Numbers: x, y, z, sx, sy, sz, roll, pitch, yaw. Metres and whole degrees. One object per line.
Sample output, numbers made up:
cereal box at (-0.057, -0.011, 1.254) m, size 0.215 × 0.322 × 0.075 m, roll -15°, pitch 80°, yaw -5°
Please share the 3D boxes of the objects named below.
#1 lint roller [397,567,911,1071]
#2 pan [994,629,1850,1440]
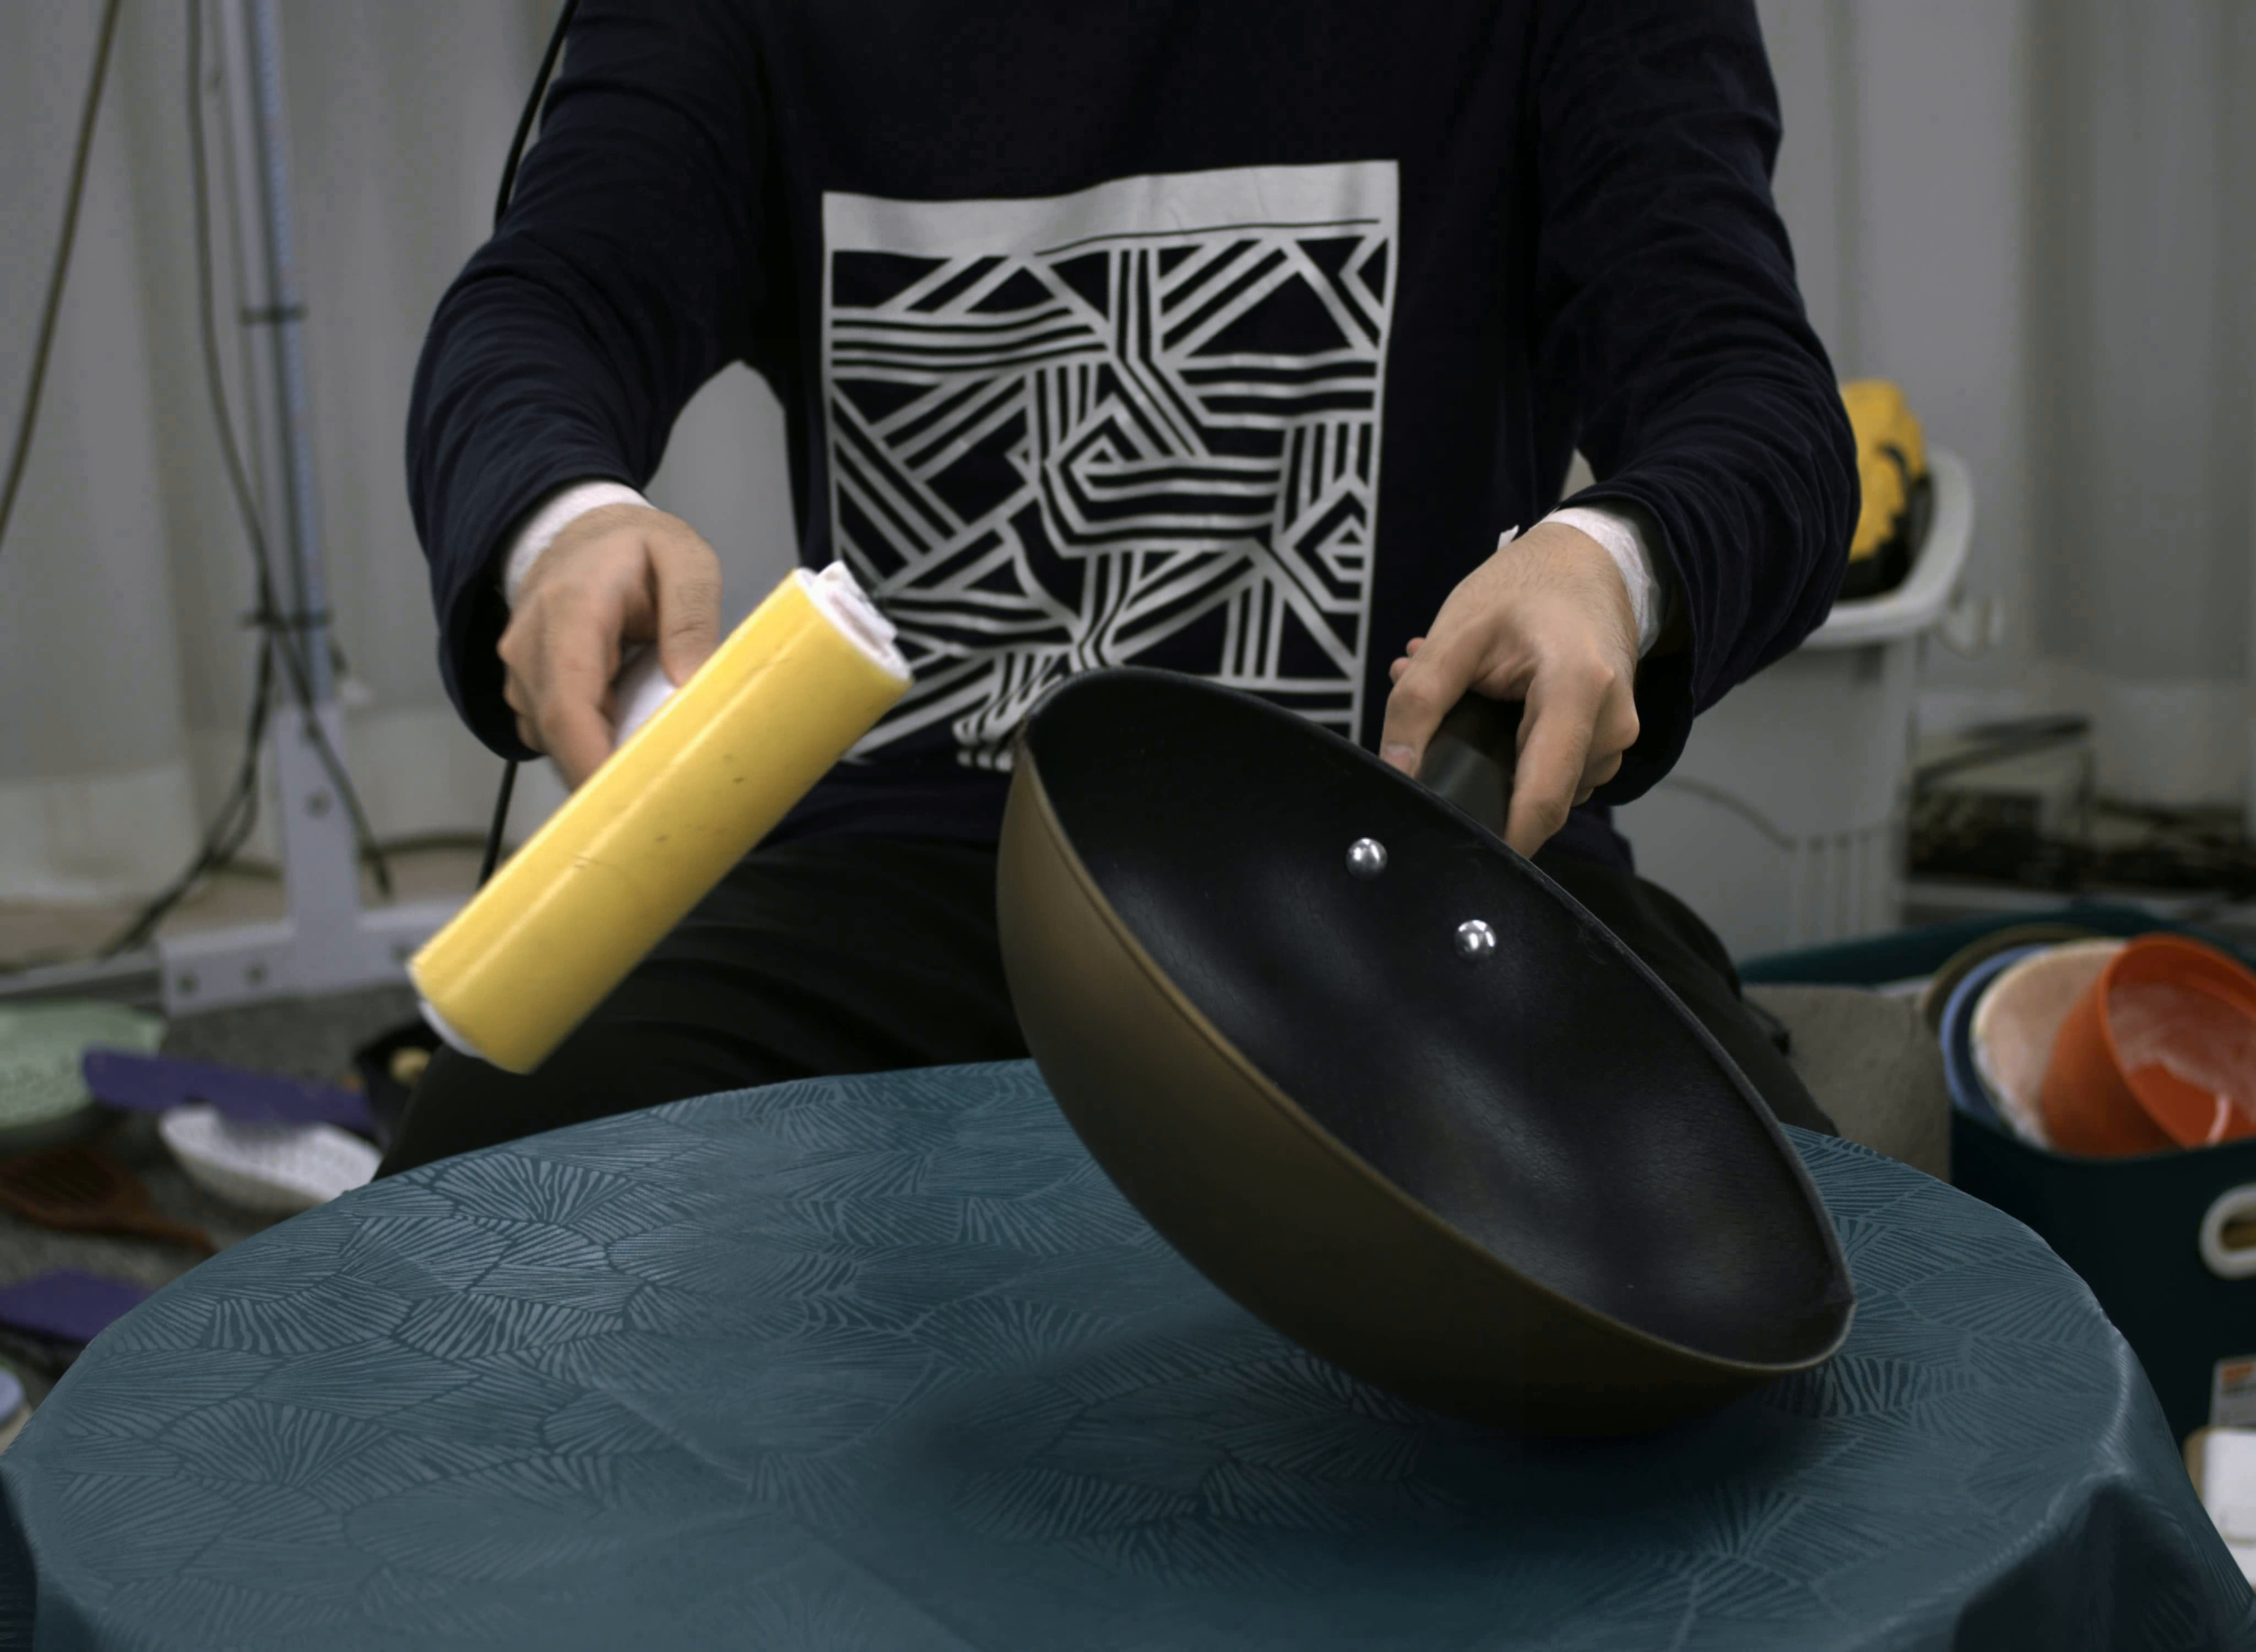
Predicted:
lint roller at (-0.151, -0.029, 1.621) m, size 0.174 × 0.051 × 0.194 m, roll -44°, pitch 27°, yaw 6°
pan at (0.075, 0.043, 1.600) m, size 0.287 × 0.086 × 0.467 m, roll 36°, pitch 20°, yaw -8°
